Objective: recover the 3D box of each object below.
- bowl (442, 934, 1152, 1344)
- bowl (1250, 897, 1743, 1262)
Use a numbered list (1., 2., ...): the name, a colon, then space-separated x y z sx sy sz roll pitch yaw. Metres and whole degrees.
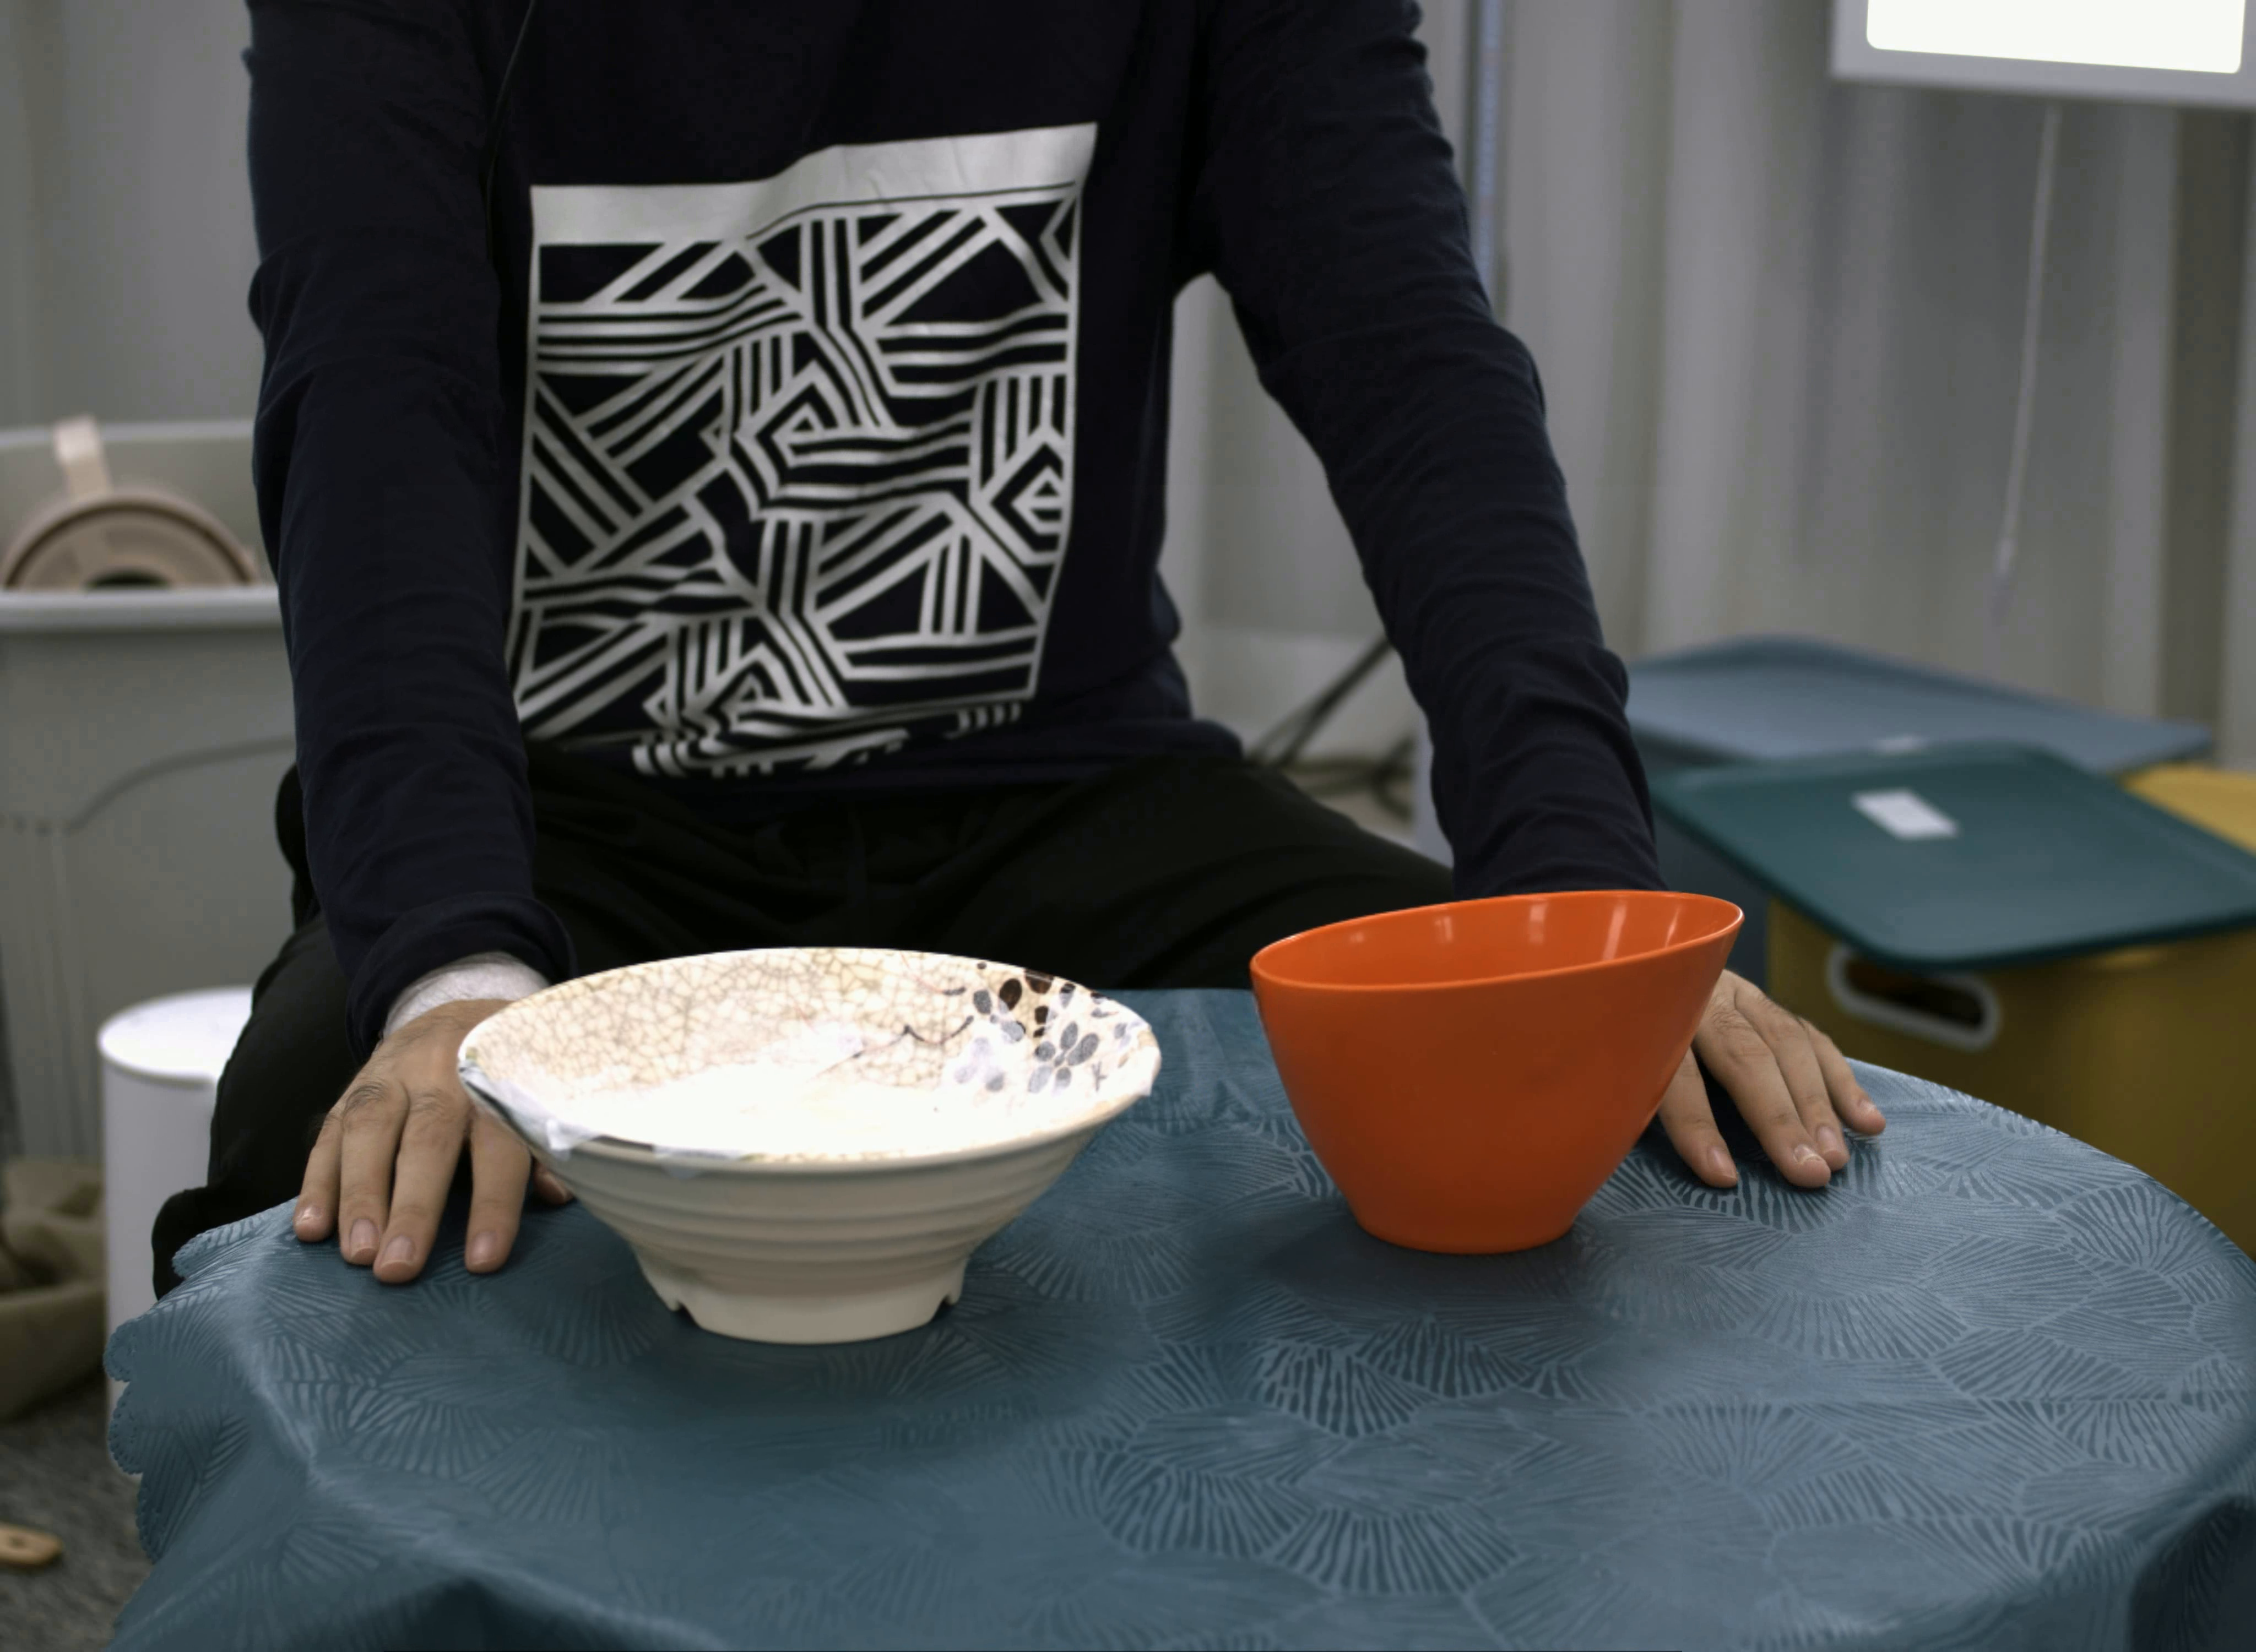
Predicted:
1. bowl: -0.096 0.098 1.521 0.203 0.078 0.203 2 16 0
2. bowl: 0.109 0.074 1.581 0.147 0.105 0.147 0 14 1
